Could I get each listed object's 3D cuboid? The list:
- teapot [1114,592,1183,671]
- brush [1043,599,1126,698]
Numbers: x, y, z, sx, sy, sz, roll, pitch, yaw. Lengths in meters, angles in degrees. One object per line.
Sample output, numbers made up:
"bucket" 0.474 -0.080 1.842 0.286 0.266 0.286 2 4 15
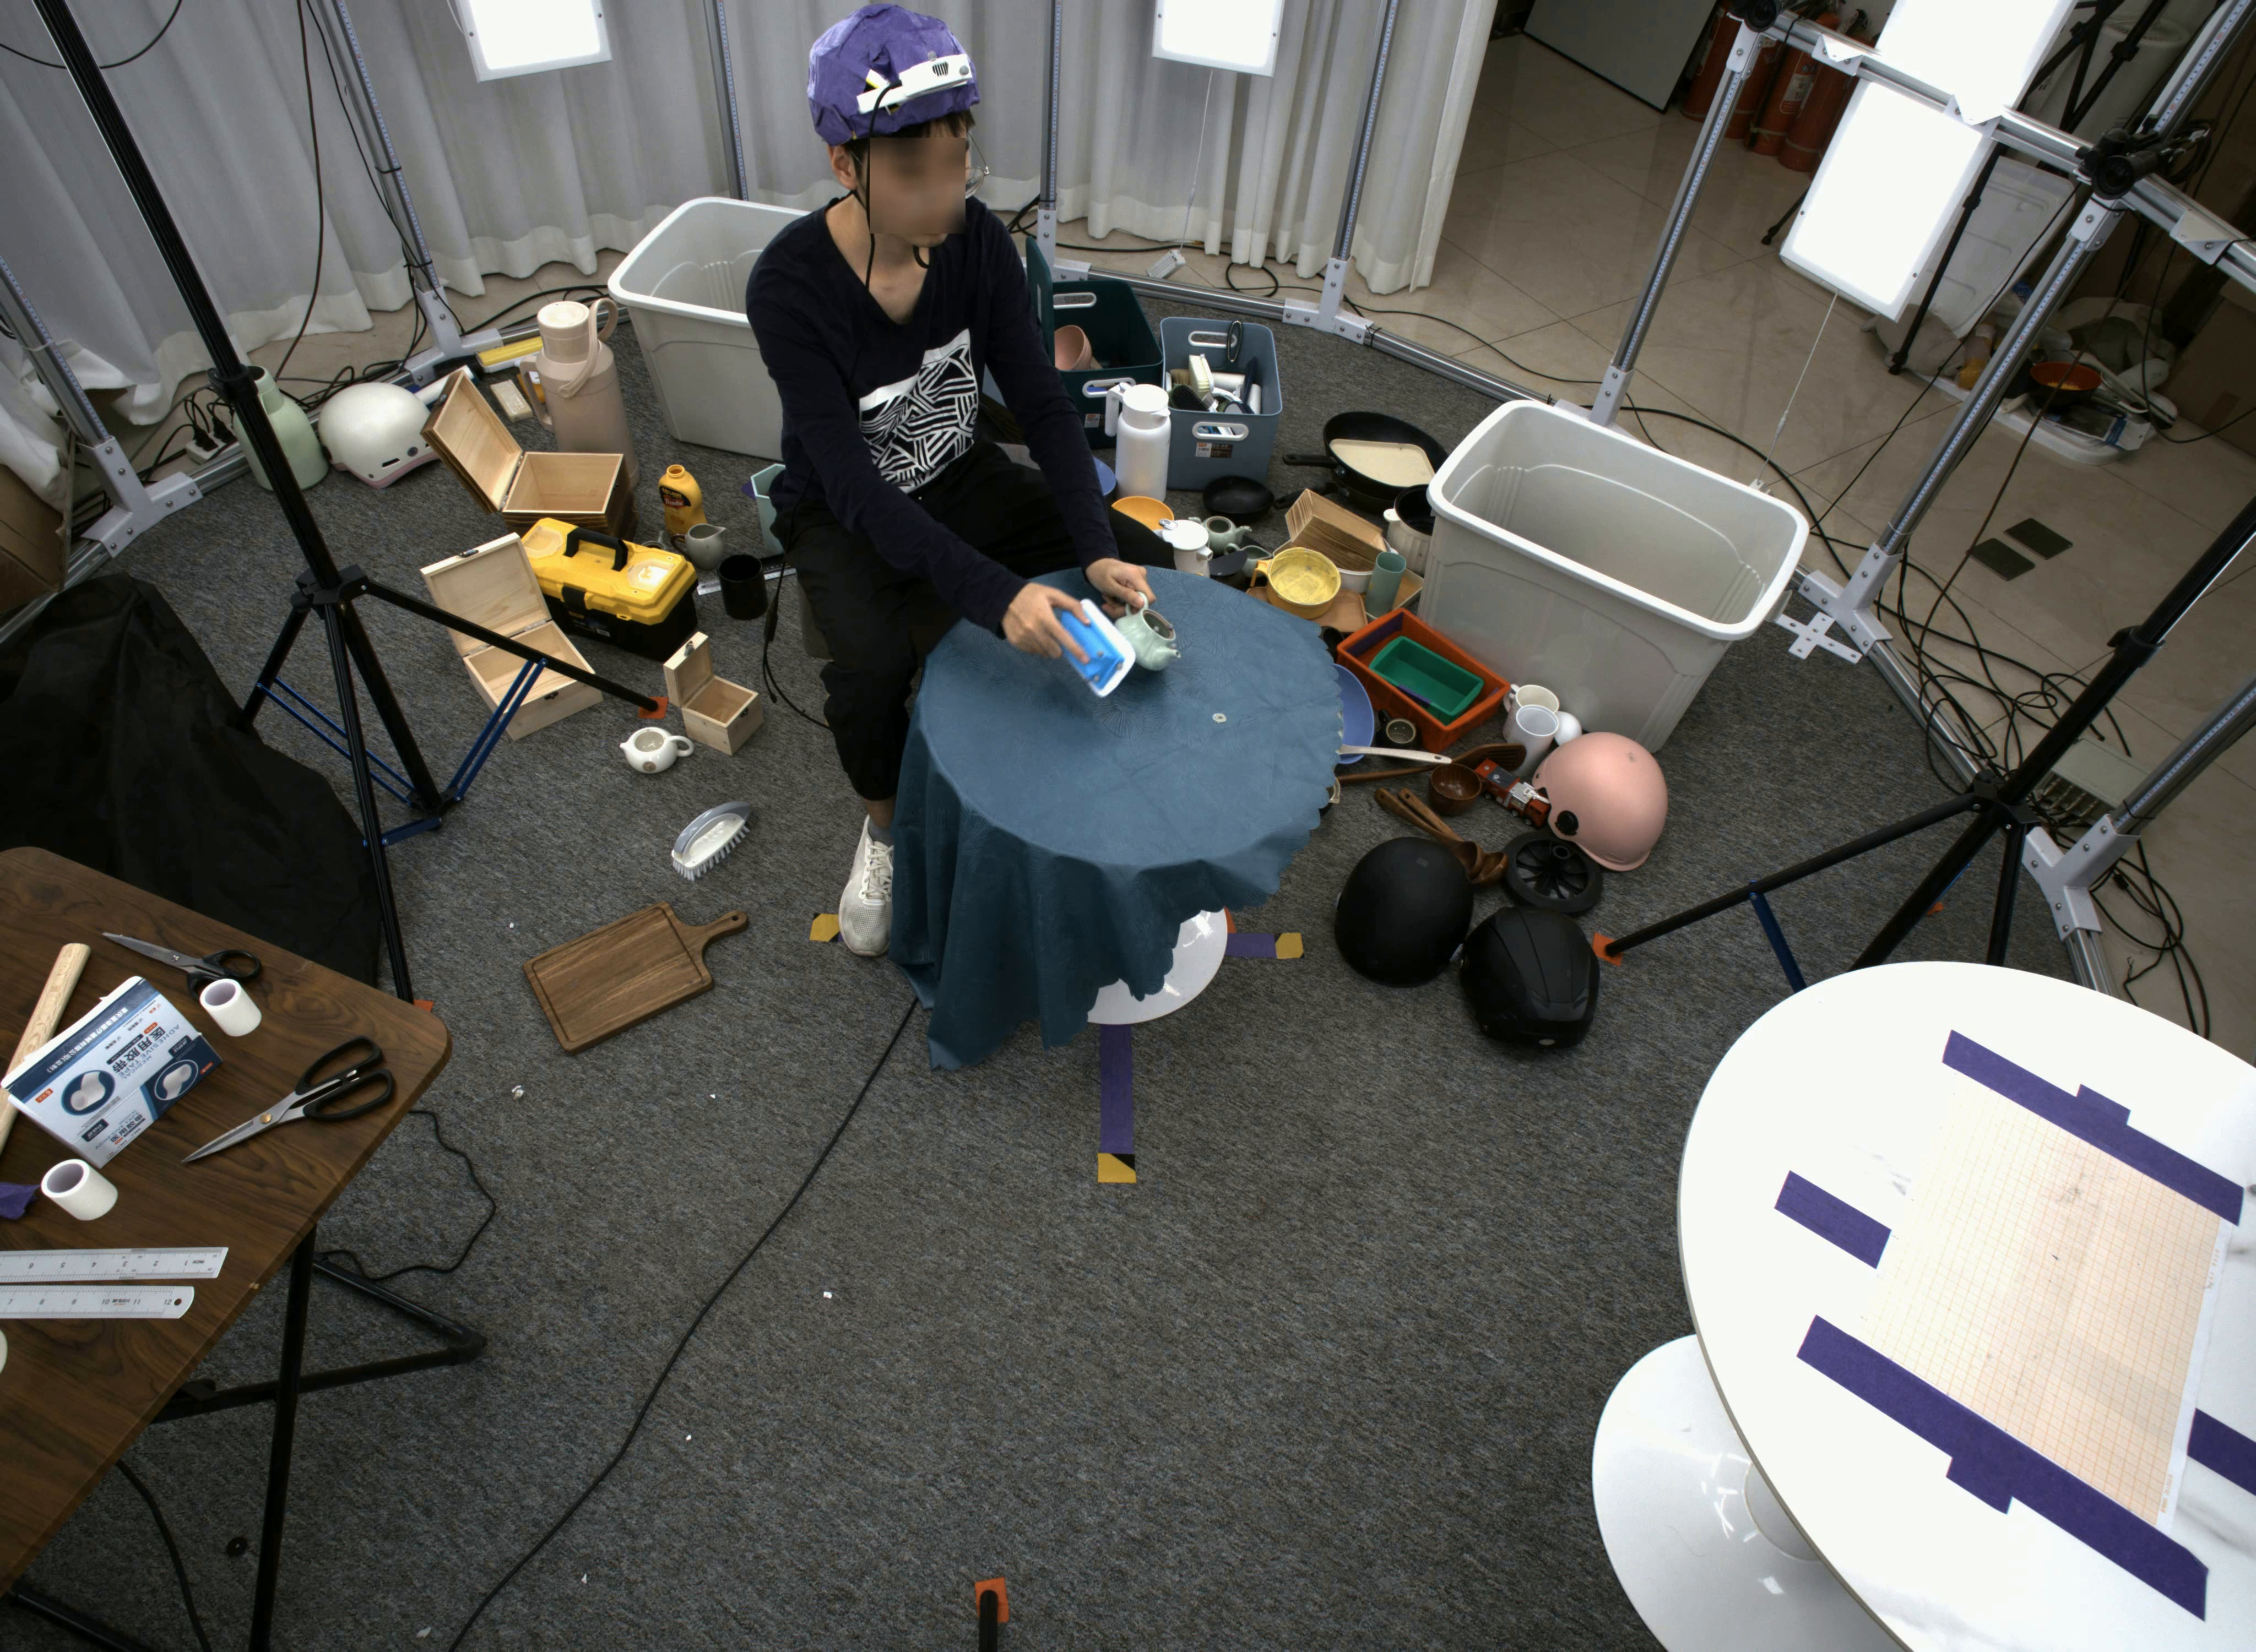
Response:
"teapot" 0.028 -0.273 1.841 0.095 0.060 0.139 3 50 -46
"brush" -0.067 -0.248 1.766 0.055 0.083 0.147 17 31 -55
